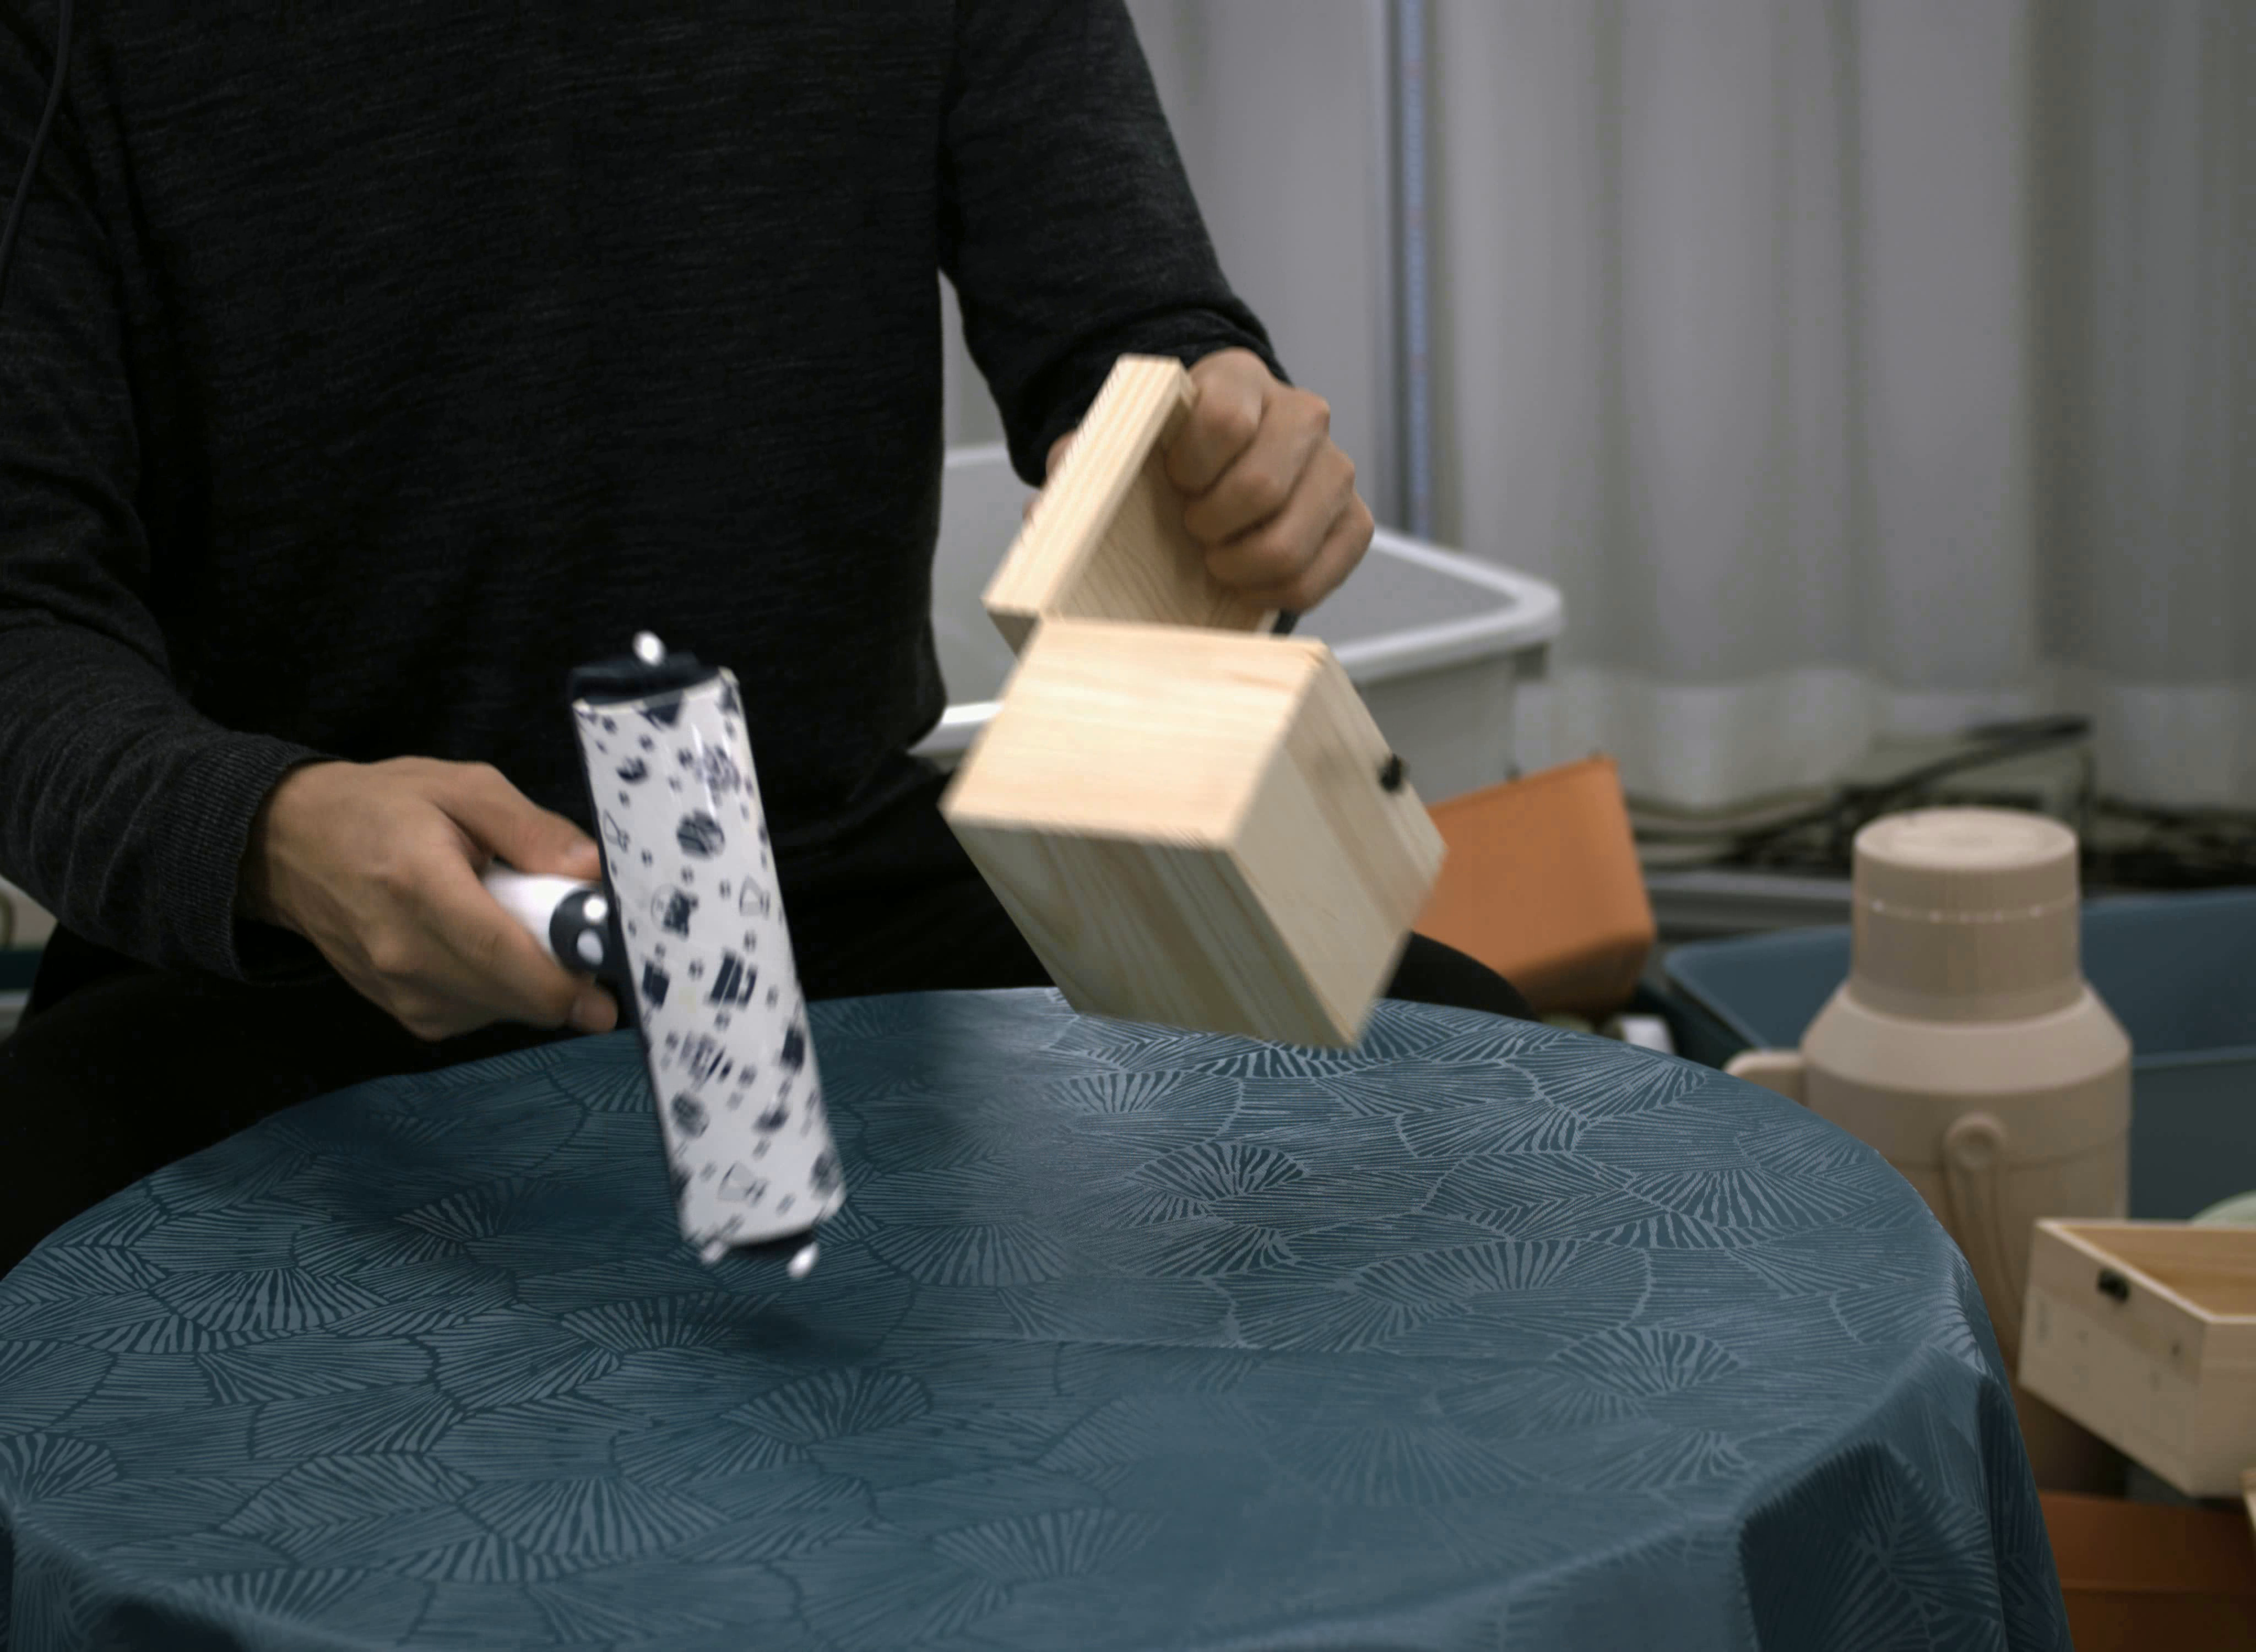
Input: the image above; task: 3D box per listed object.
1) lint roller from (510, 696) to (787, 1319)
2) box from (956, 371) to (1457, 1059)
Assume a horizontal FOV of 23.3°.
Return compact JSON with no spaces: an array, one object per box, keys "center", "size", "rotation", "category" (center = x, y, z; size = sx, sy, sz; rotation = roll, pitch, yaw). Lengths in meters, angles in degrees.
[{"center":[-0.157,0.034,1.668],"size":[0.050,0.176,0.249],"rotation":[-5,13,-19],"category":"lint roller"},{"center":[0.036,-0.037,1.666],"size":[0.134,0.101,0.186],"rotation":[5,54,32],"category":"box"}]
